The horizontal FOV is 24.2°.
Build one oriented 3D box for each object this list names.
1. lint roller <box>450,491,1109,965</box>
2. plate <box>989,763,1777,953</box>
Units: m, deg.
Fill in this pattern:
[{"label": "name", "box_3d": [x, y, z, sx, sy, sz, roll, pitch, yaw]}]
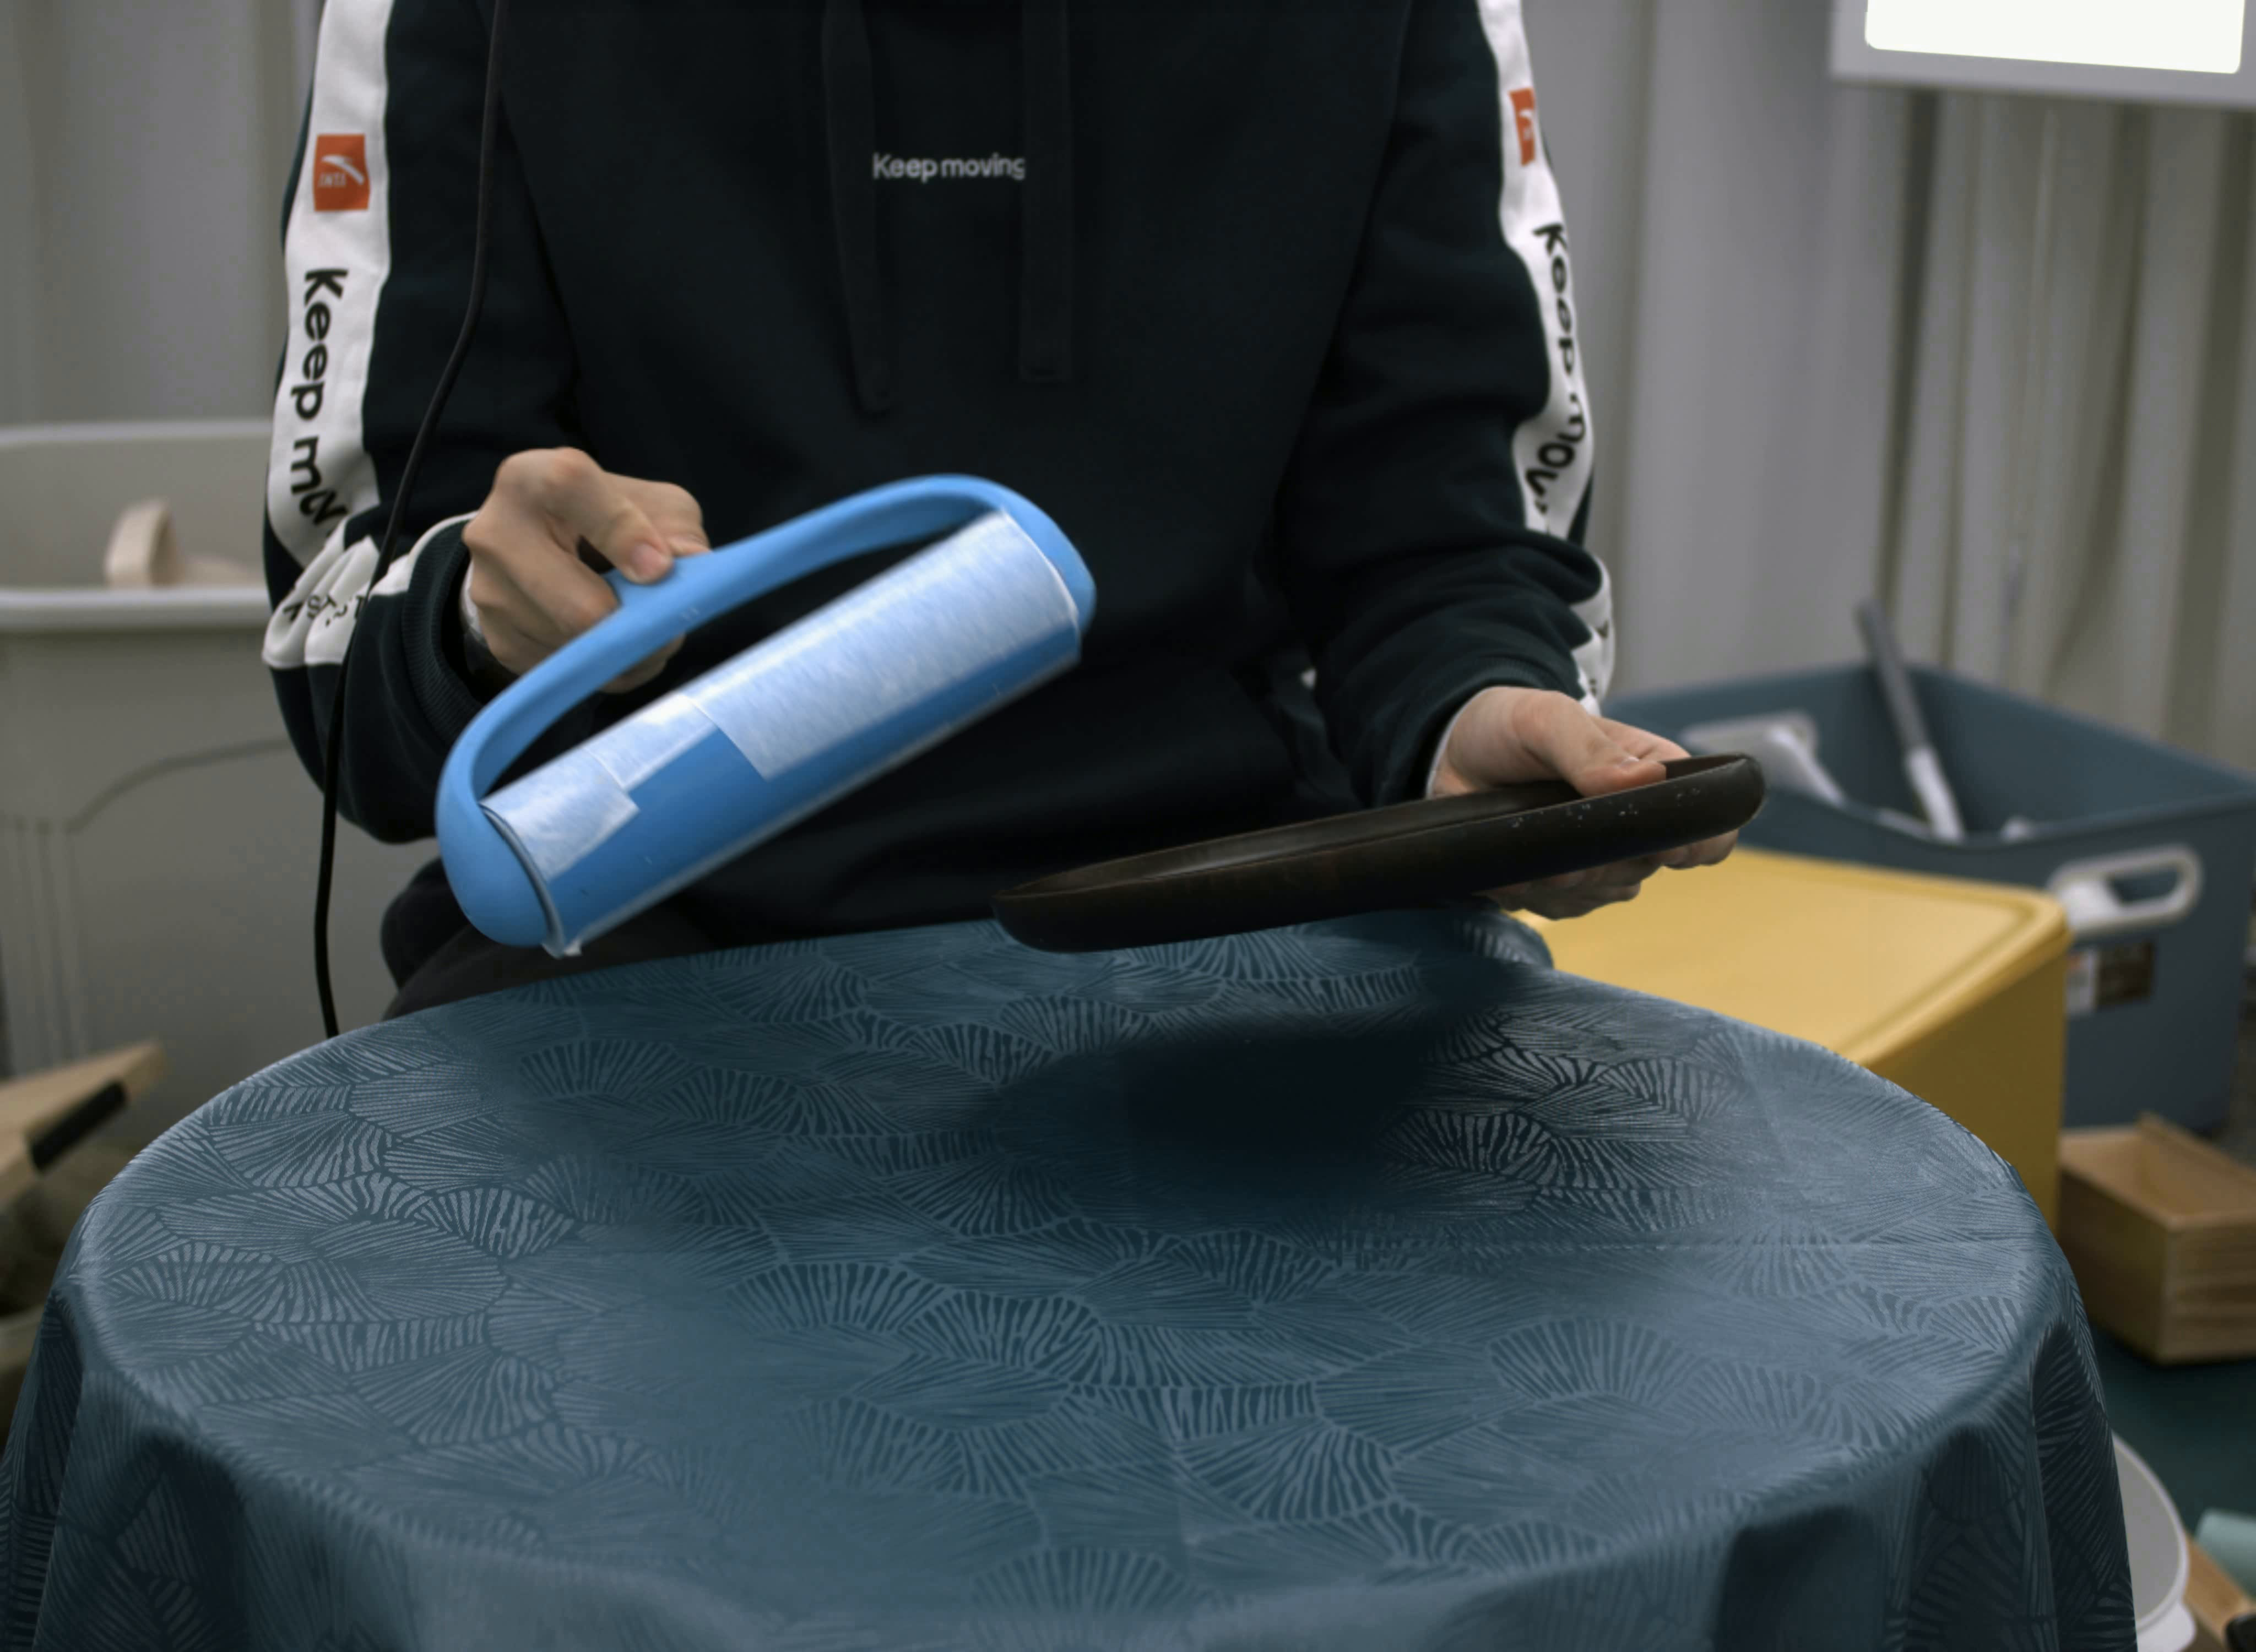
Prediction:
[{"label": "lint roller", "box_3d": [-0.137, -0.049, 1.671, 0.229, 0.069, 0.177, -32, 39, -21]}, {"label": "plate", "box_3d": [0.081, 0.009, 1.667, 0.254, 0.029, 0.254, -9, 2, 1]}]
